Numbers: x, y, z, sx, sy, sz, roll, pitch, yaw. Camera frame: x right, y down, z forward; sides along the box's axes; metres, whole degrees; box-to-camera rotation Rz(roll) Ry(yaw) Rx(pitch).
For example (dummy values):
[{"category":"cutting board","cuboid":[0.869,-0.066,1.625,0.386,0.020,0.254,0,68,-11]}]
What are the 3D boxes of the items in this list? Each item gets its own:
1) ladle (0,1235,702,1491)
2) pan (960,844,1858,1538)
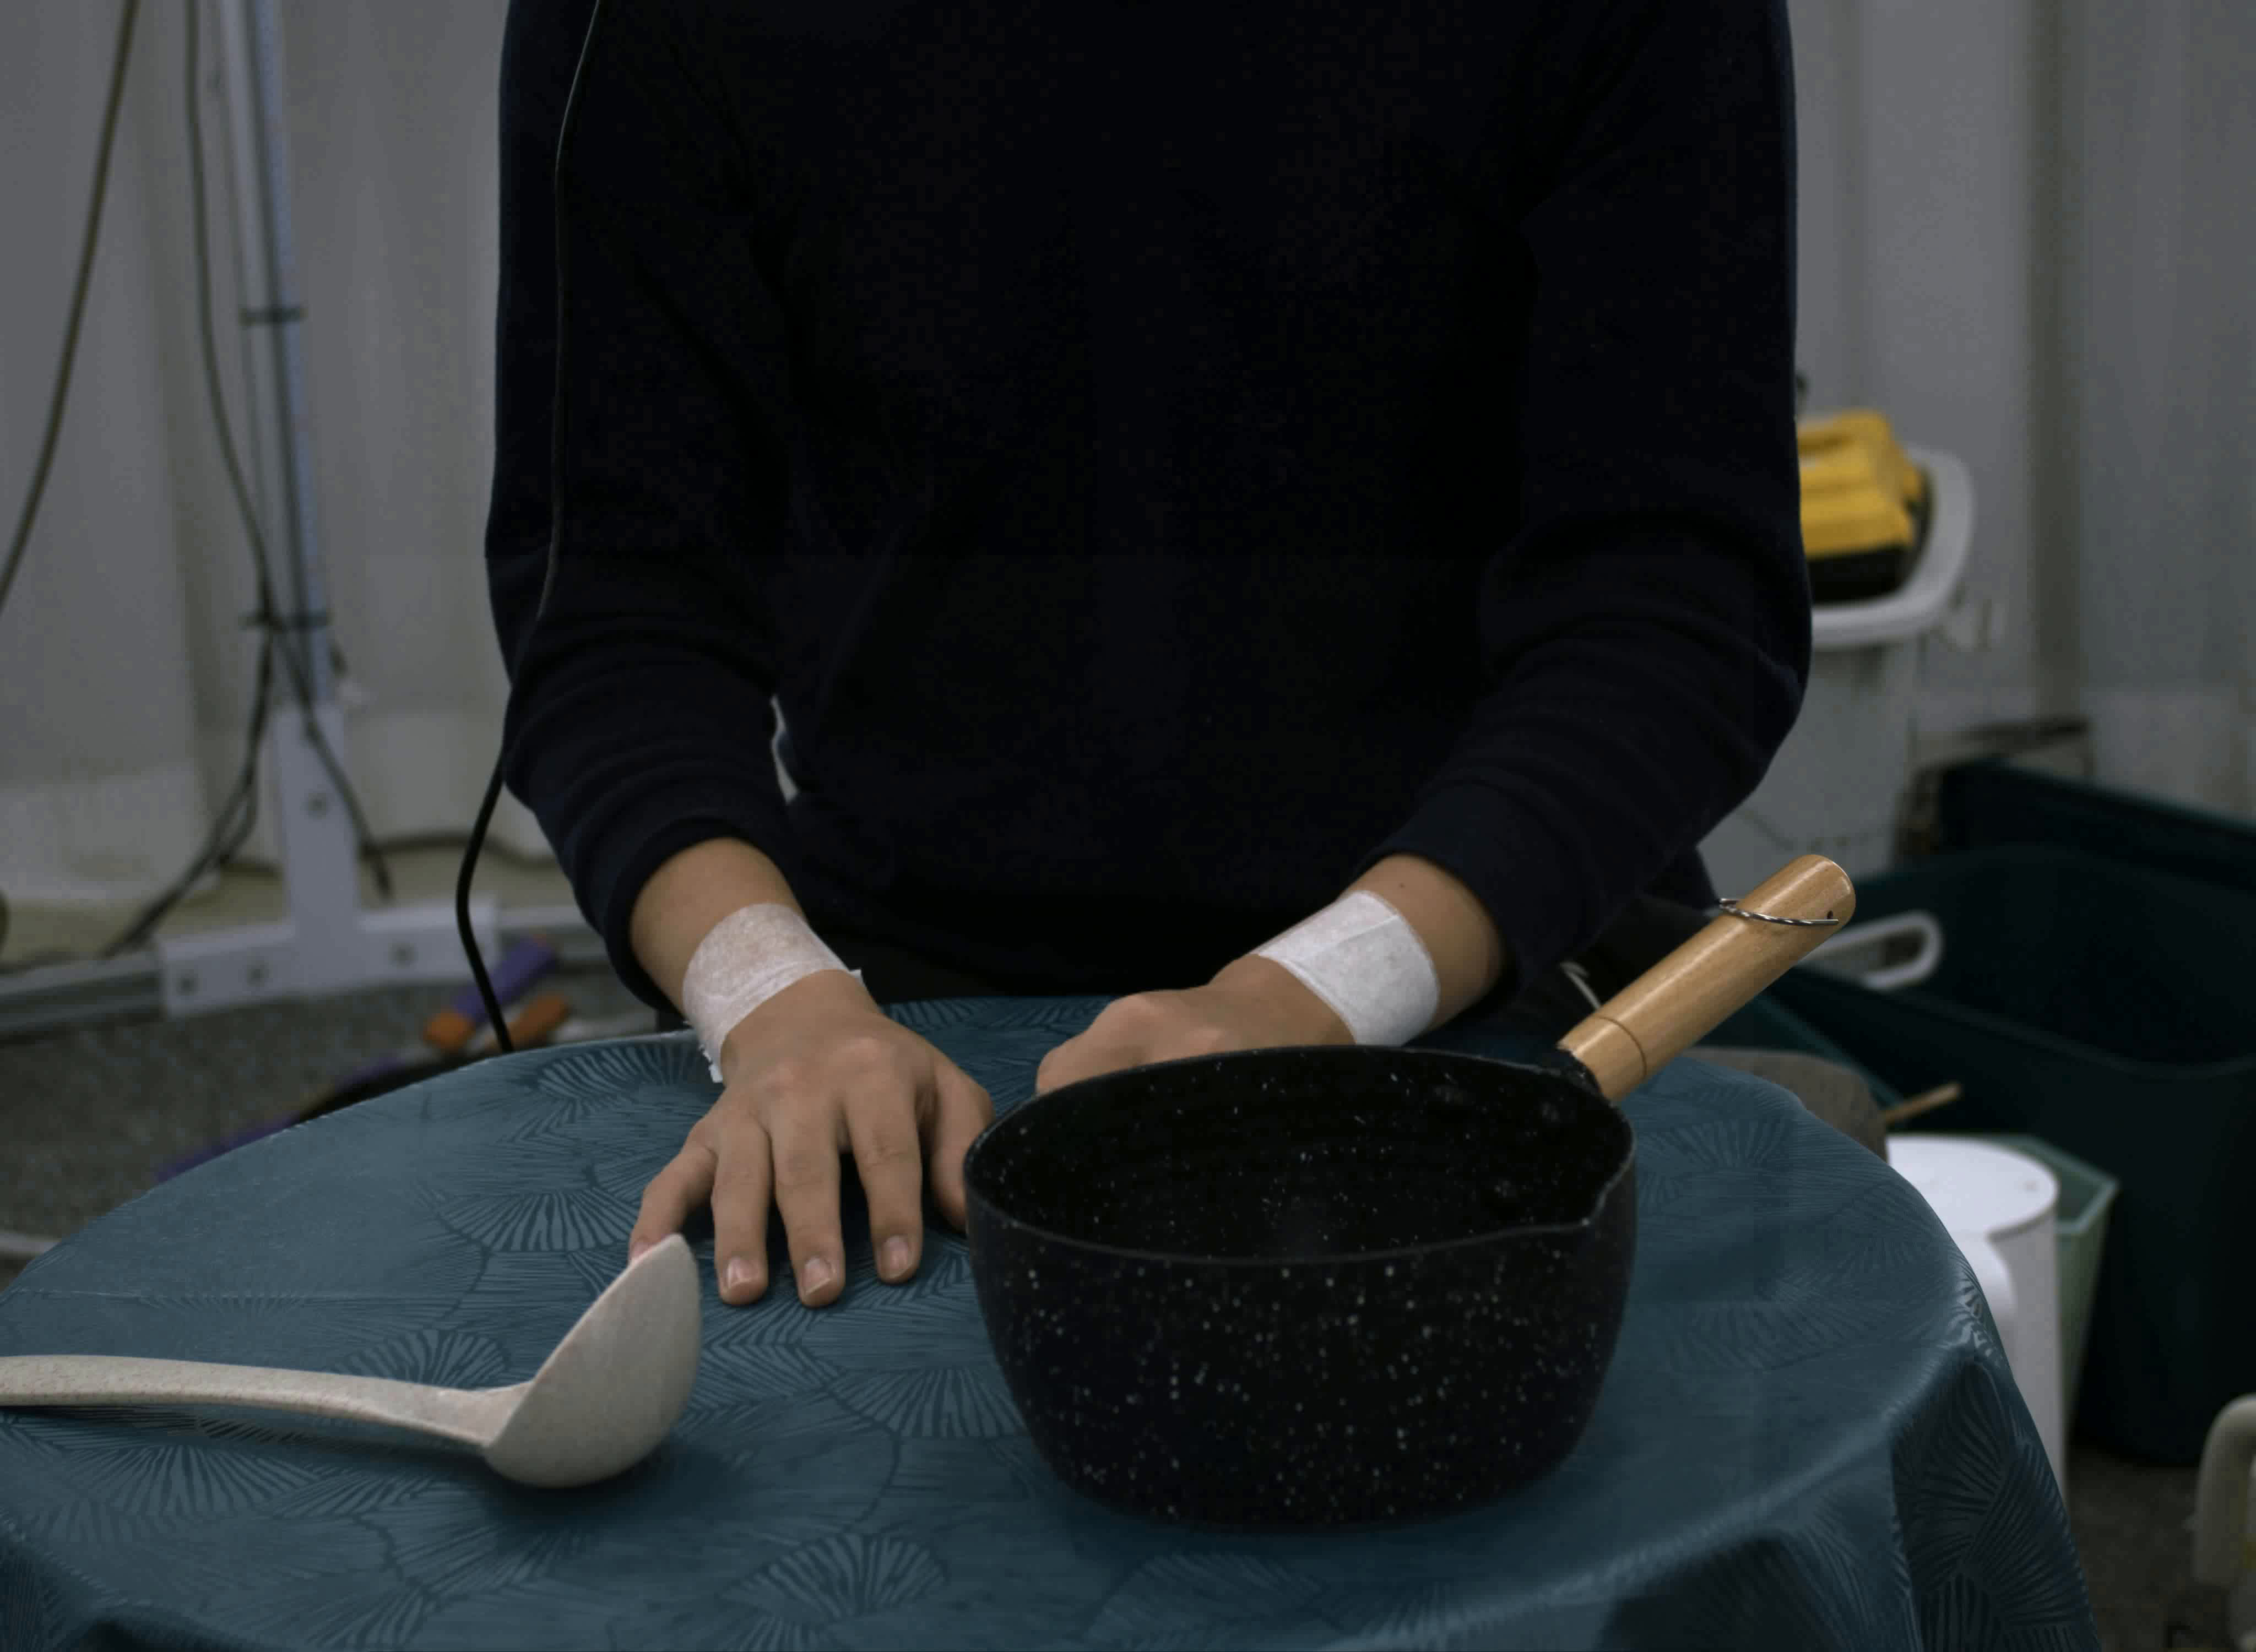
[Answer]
[{"category":"ladle","cuboid":[-0.245,0.143,1.542,0.275,0.069,0.090,2,24,26]},{"category":"pan","cuboid":[0.100,0.098,1.550,0.208,0.108,0.342,9,20,41]}]
